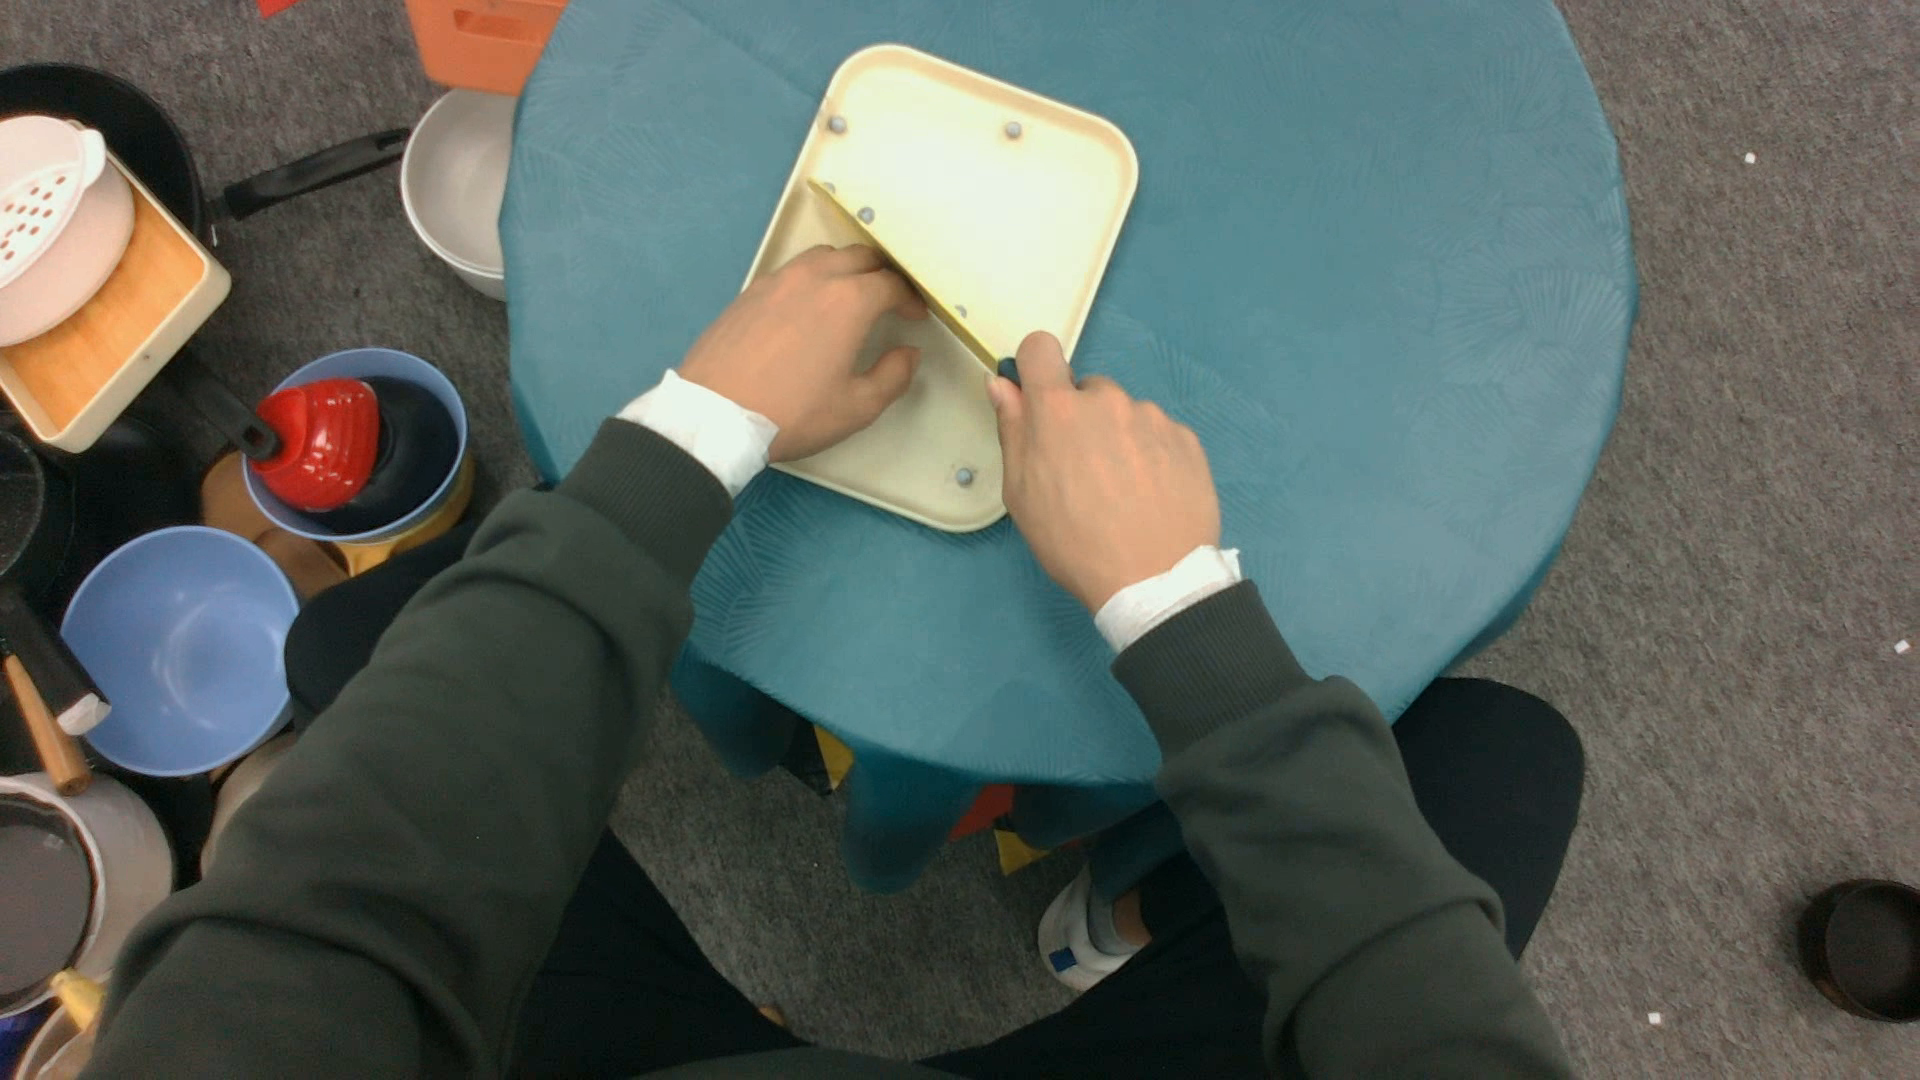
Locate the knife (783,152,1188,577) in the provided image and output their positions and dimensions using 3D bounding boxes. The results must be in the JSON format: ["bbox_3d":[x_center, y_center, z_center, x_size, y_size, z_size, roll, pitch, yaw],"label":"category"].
[{"bbox_3d":[0.006,-0.090,0.665,0.027,0.081,0.289,-43,77,3],"label":"knife"}]

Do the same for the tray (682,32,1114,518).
[{"bbox_3d":[-0.029,-0.139,0.710,0.171,0.017,0.240,20,78,0],"label":"tray"}]
